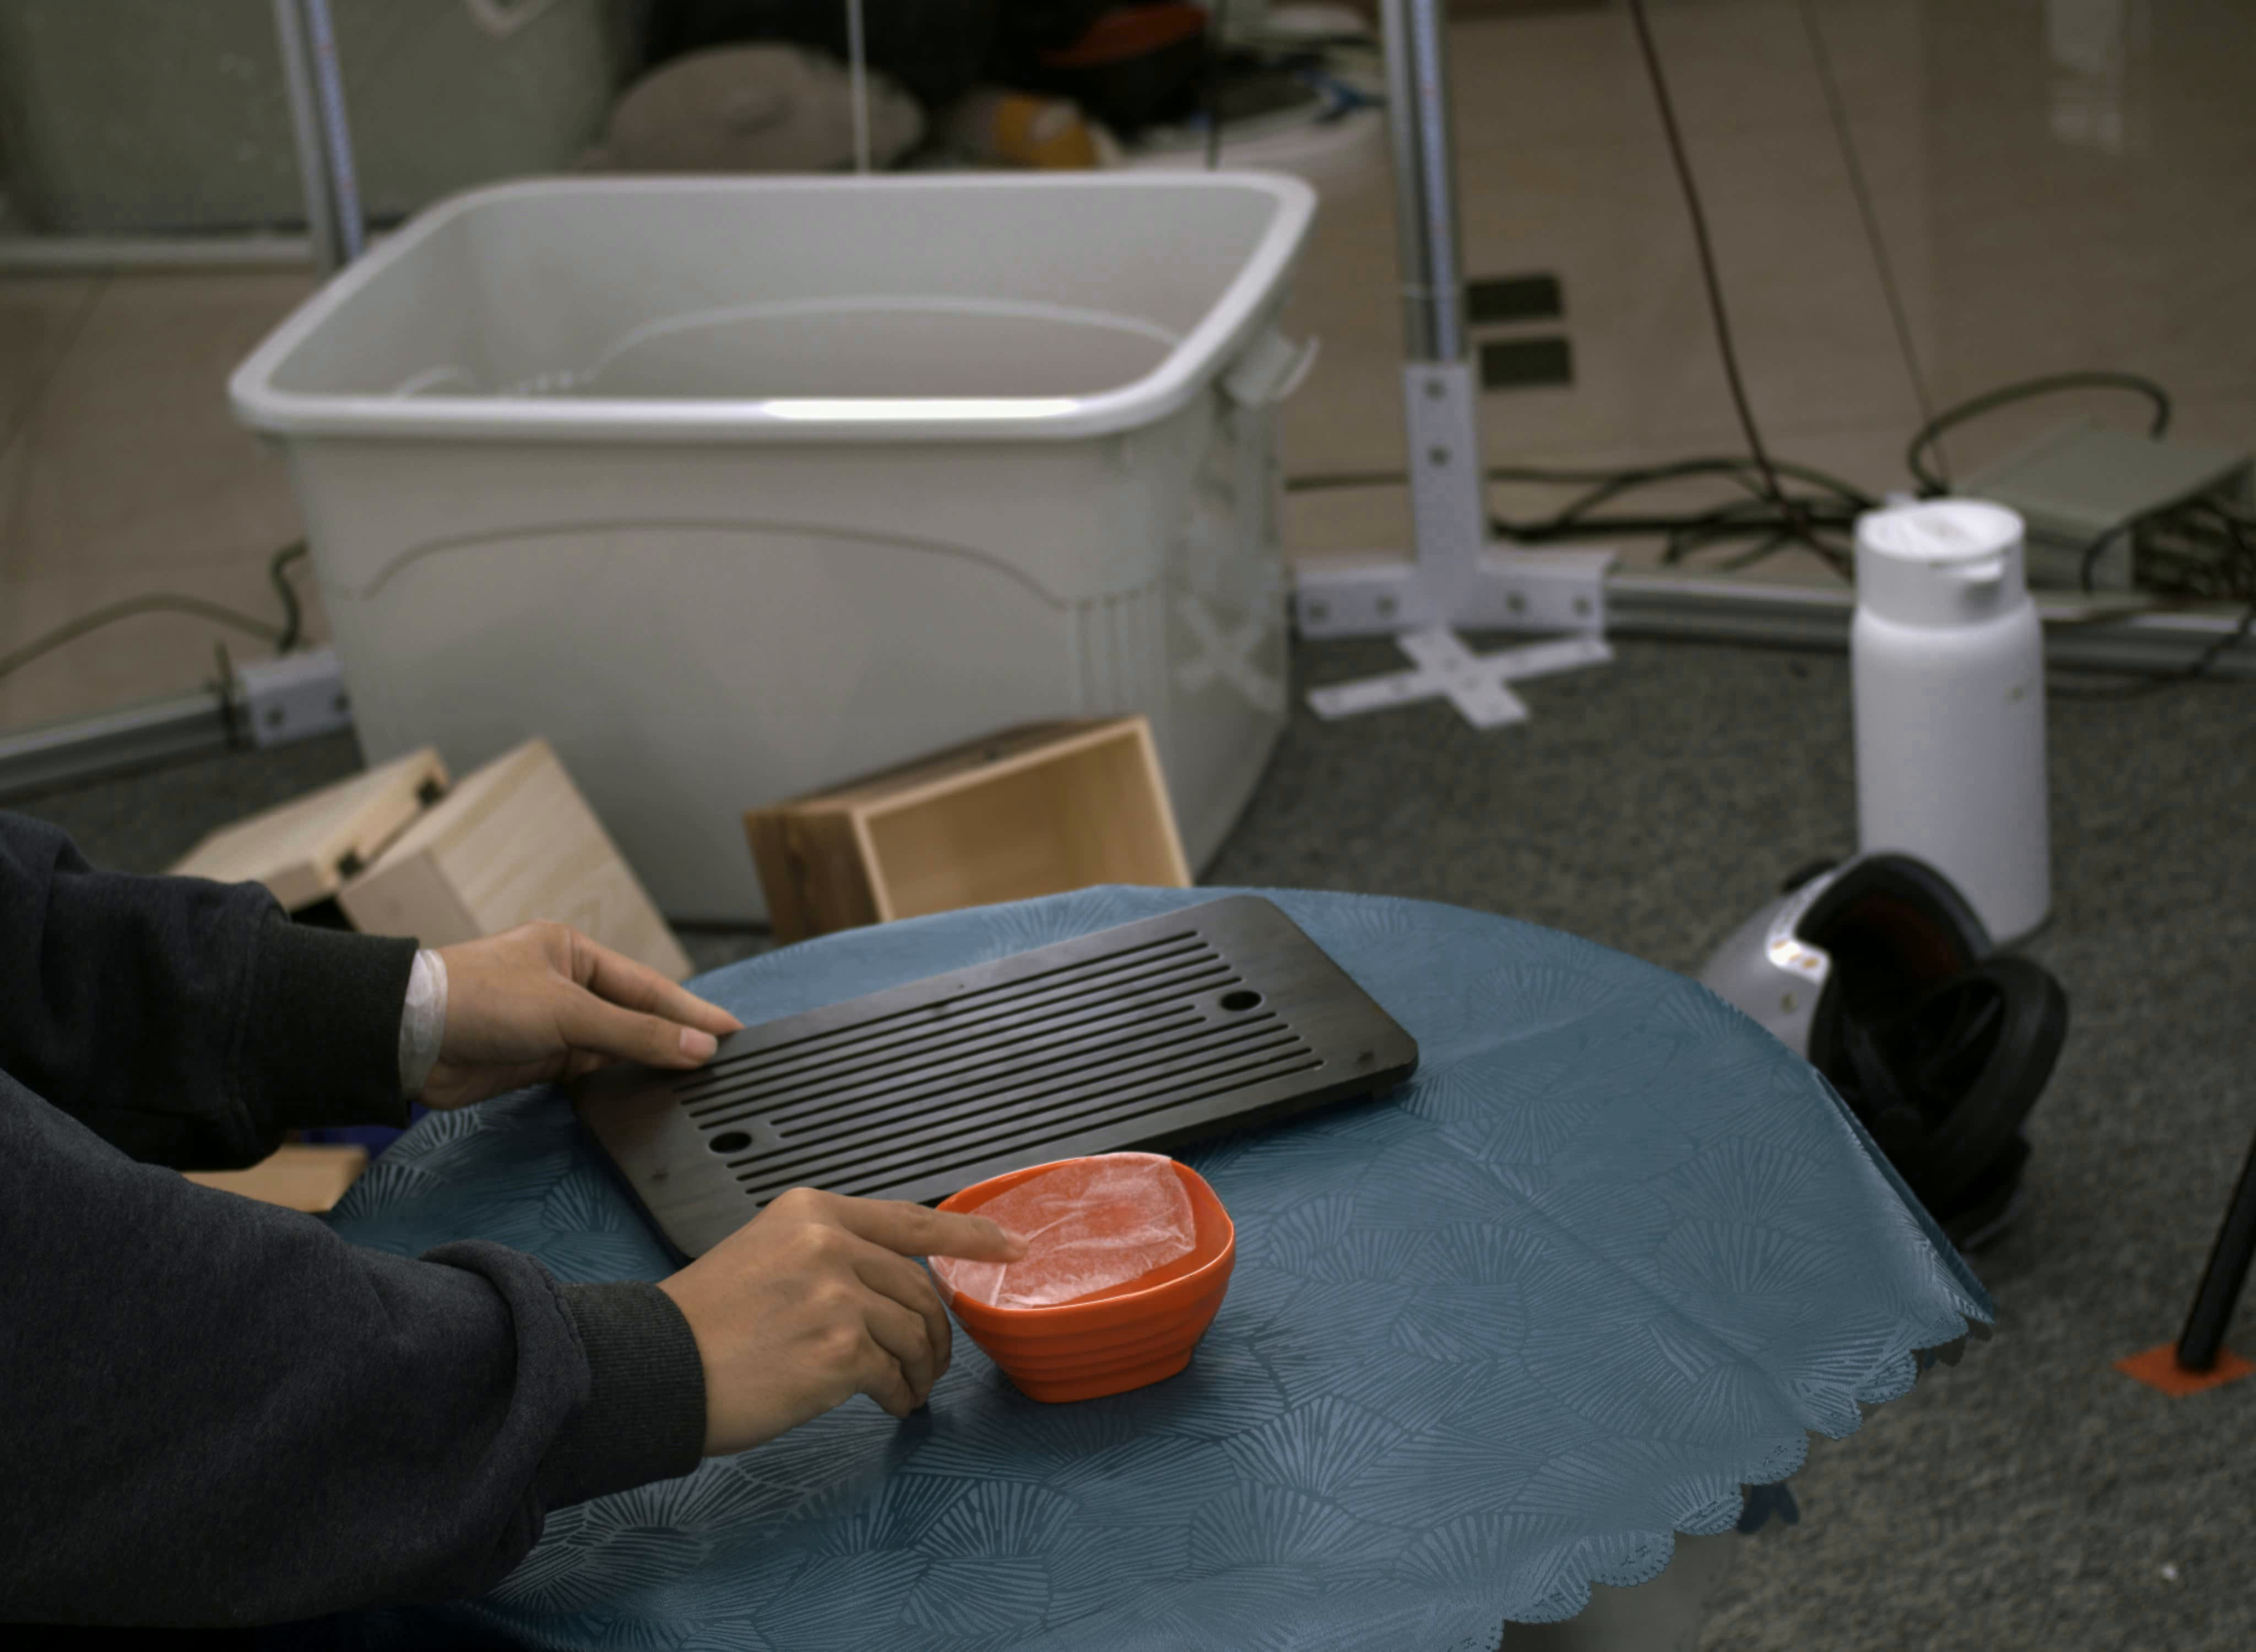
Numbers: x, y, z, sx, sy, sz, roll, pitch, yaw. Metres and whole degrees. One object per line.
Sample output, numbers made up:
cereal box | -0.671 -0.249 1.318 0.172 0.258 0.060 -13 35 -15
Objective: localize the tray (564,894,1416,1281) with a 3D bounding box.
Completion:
tray | -0.055 0.101 2.217 0.305 0.019 0.168 -15 28 -17

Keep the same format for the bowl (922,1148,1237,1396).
bowl | -0.016 0.164 2.030 0.119 0.052 0.117 -3 25 2
